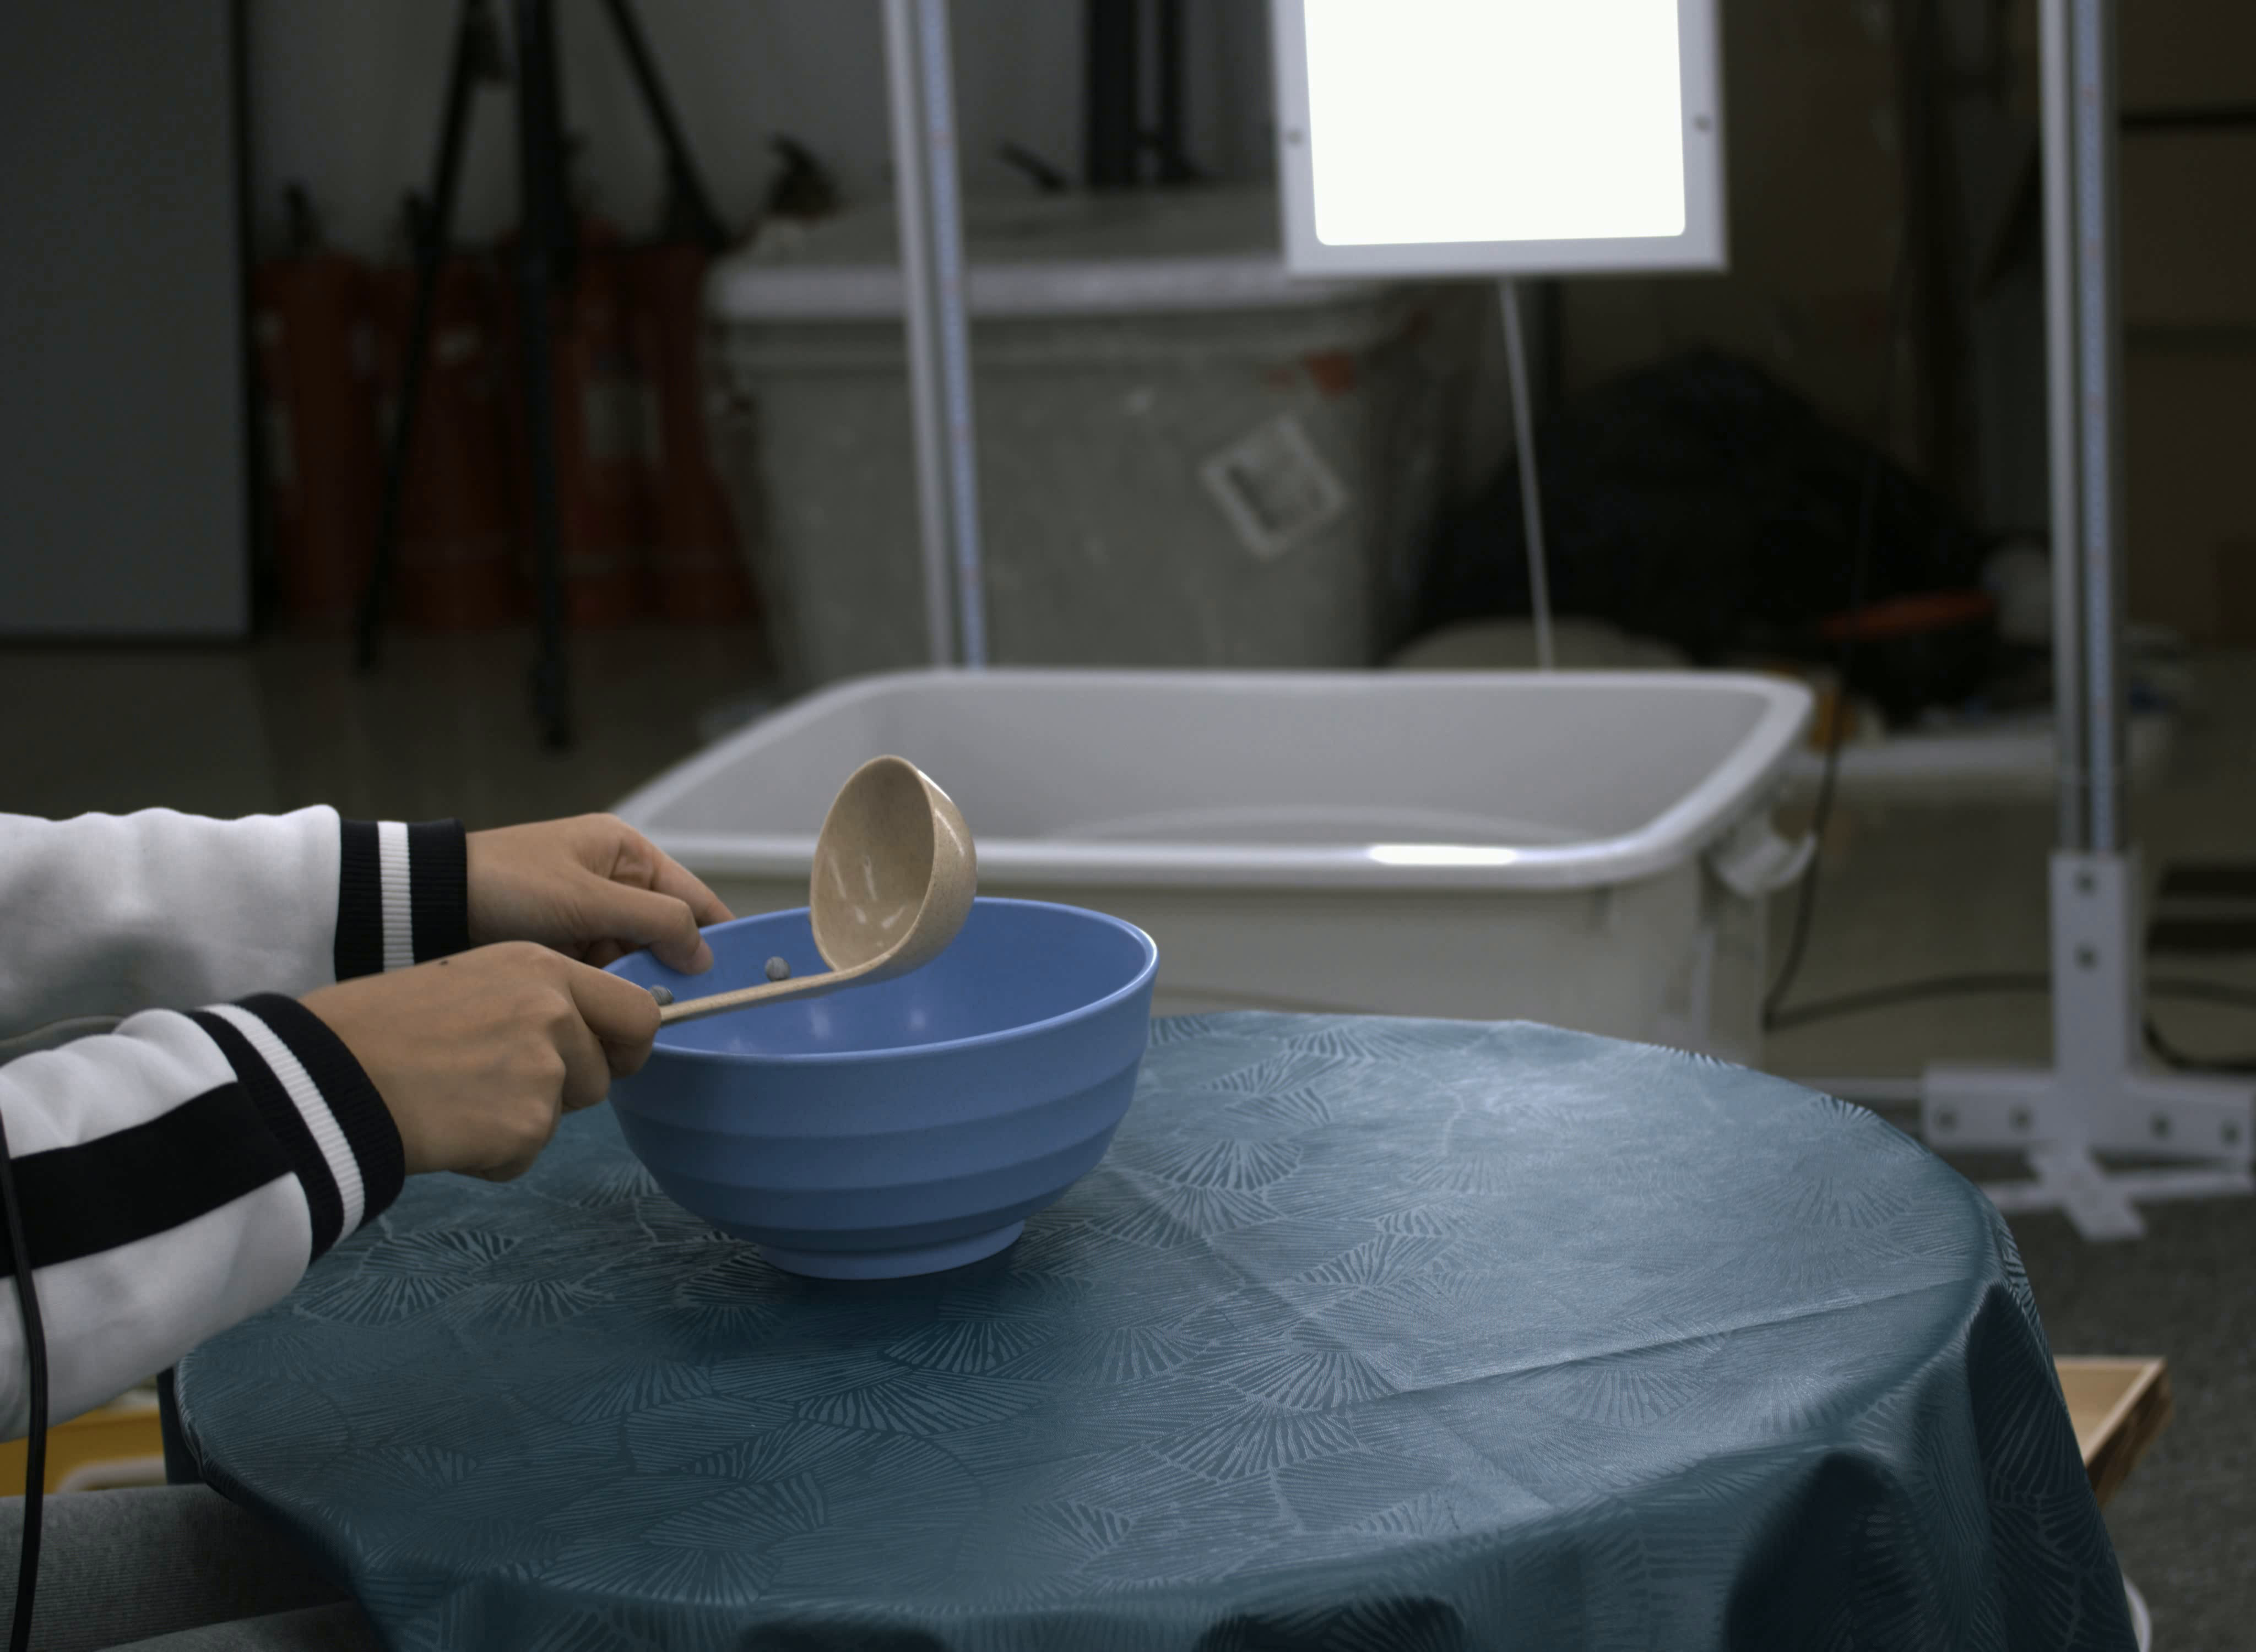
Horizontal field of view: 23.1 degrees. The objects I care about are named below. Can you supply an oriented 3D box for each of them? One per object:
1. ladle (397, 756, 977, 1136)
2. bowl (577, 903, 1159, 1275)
[{"bbox_3d":[-0.148,0.035,1.750,0.248,0.073,0.074,-17,-12,-45],"label":"ladle"},{"bbox_3d":[-0.086,0.093,1.861,0.196,0.096,0.196,-3,12,-1],"label":"bowl"}]
